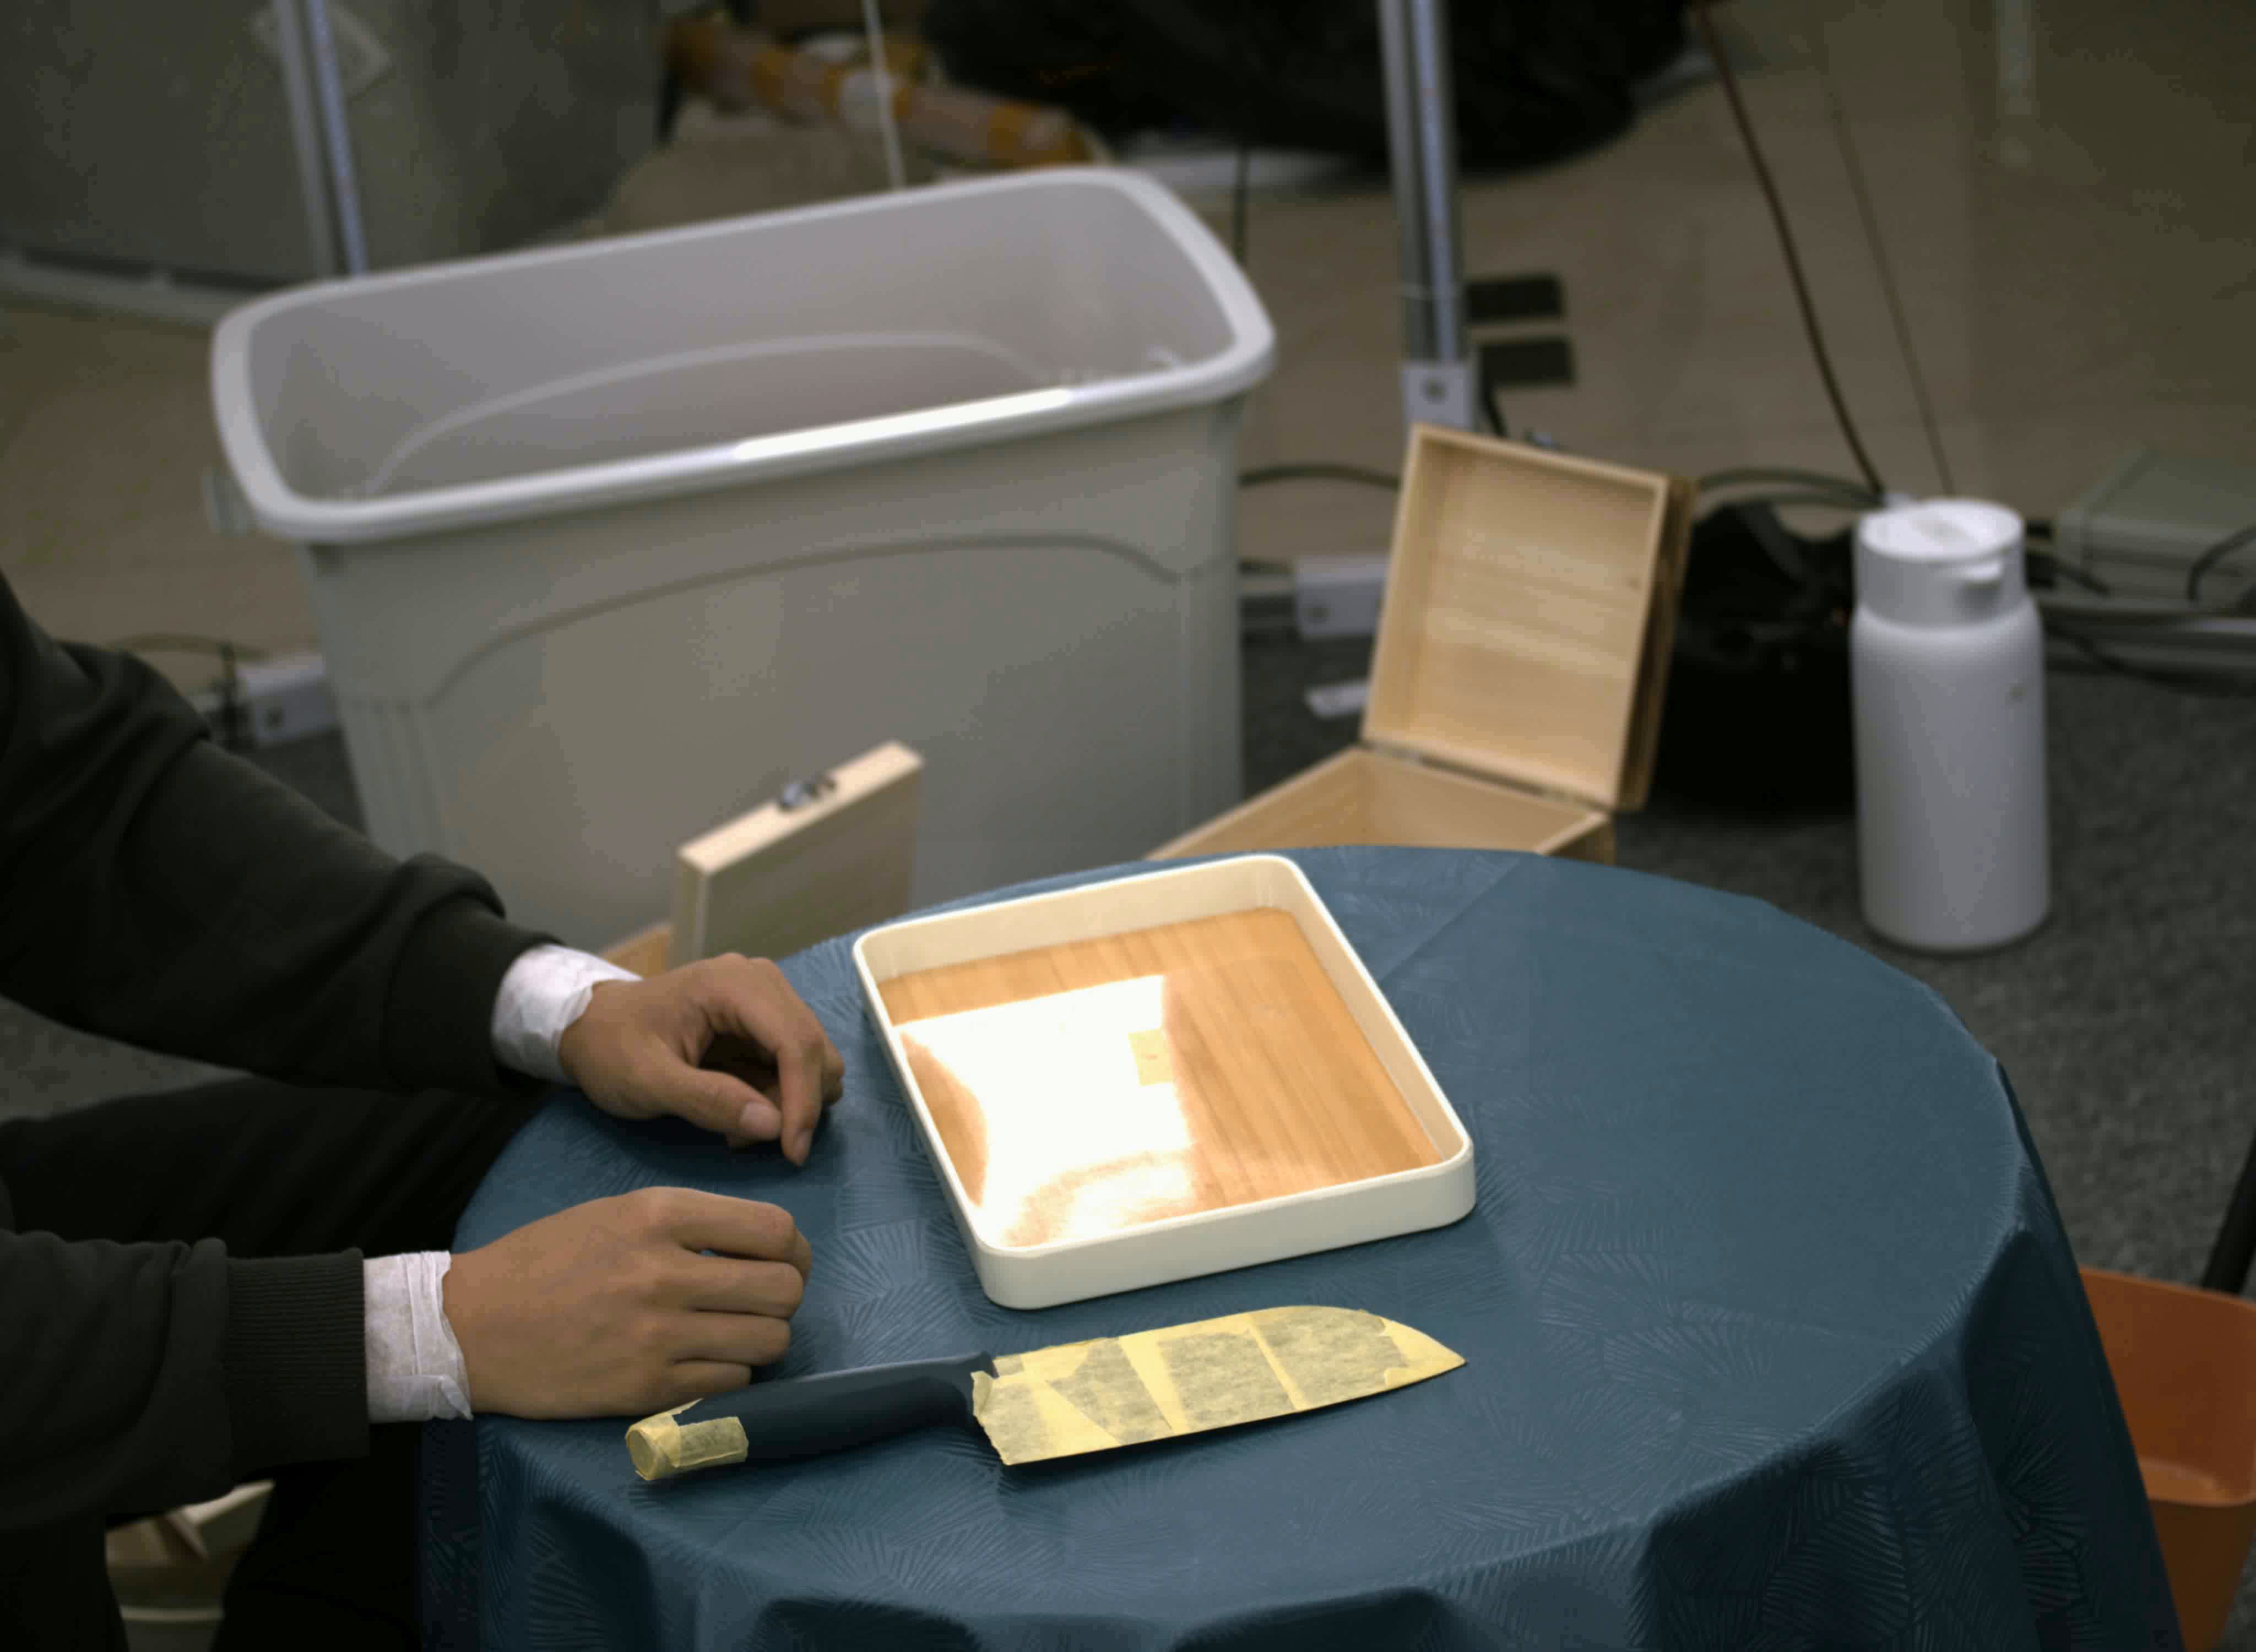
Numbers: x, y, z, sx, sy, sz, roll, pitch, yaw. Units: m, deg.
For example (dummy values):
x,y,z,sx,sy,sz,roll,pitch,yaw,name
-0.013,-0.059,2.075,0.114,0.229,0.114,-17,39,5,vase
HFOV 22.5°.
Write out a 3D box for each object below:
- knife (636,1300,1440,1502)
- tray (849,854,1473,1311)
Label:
x,y,z,sx,sy,sz,roll,pitch,yaw,name
-0.029,0.204,2.000,0.289,0.027,0.080,-10,23,-9,knife
0.008,0.095,2.213,0.191,0.028,0.296,-12,25,-8,tray
